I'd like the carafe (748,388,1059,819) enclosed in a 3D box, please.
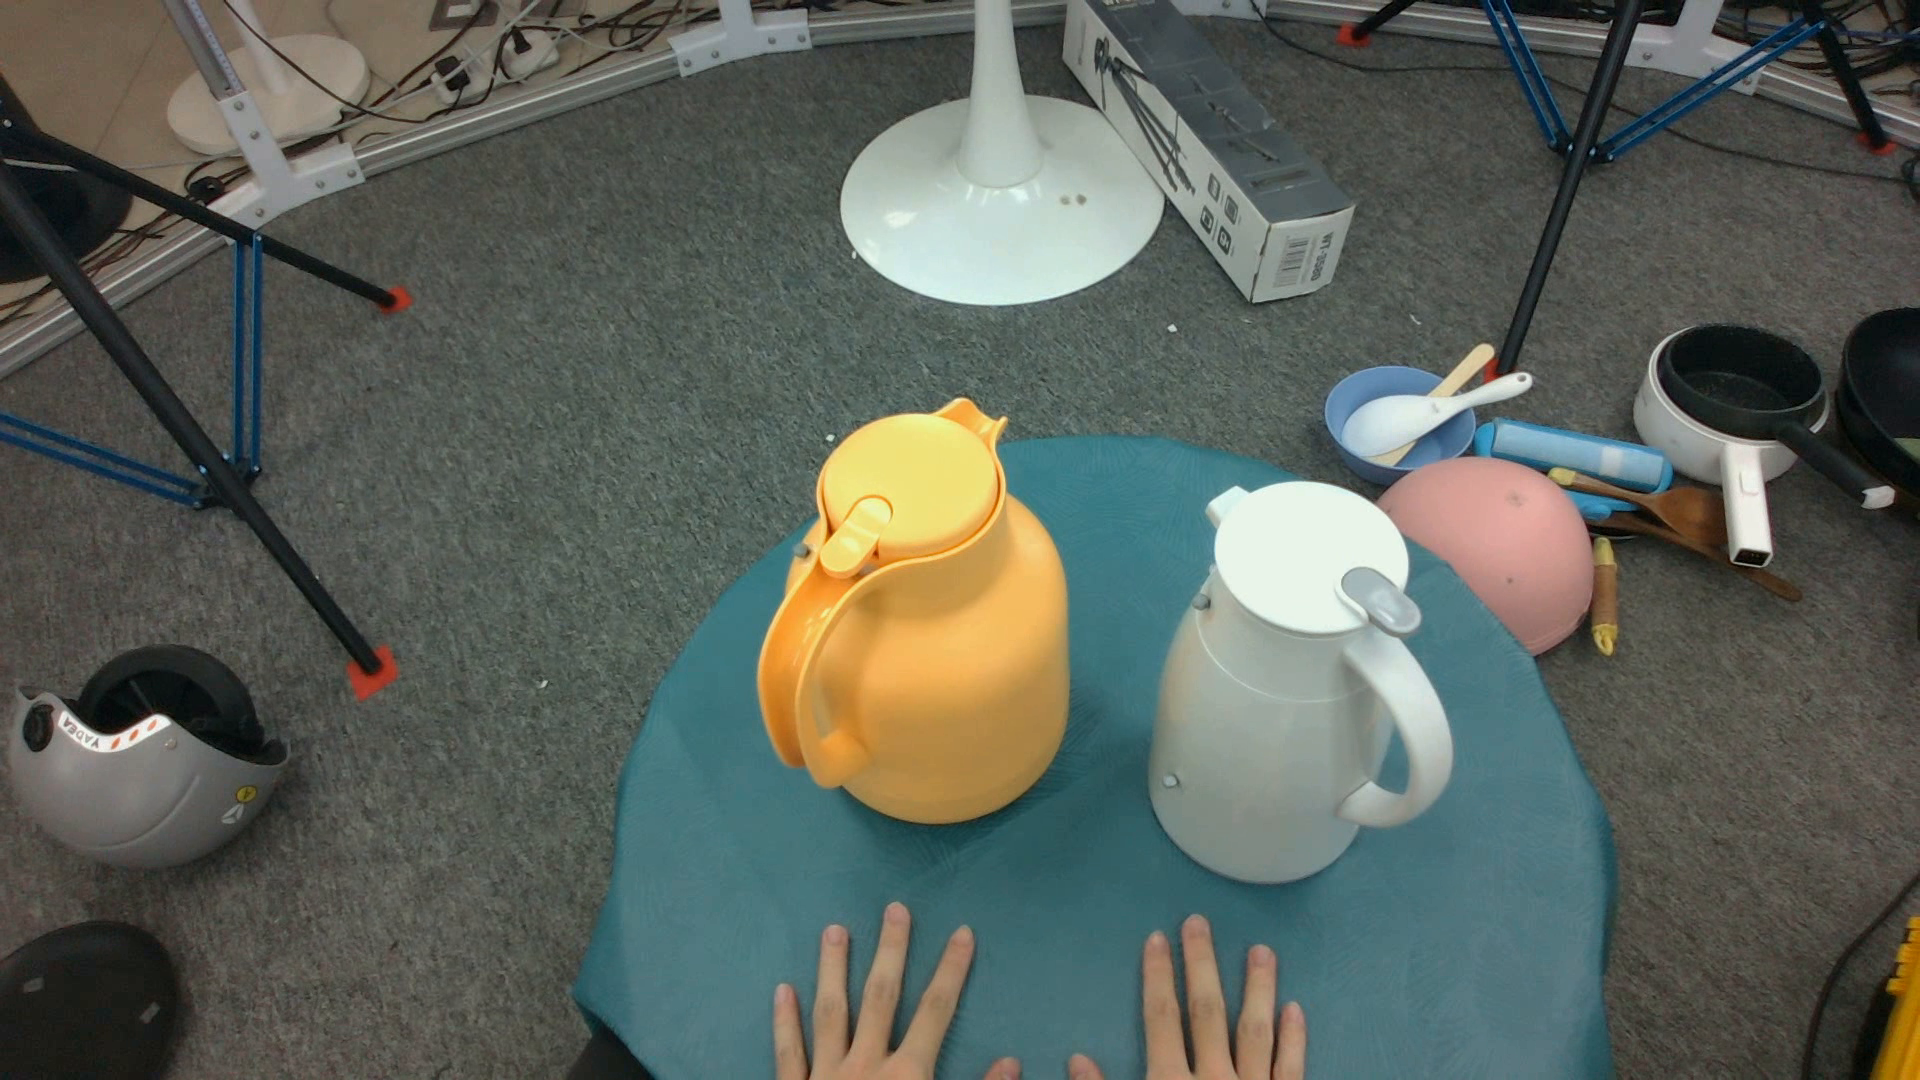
[{"bbox_3d":[-0.037,0.050,0.778,0.163,0.259,0.203,28,58,24],"label":"carafe"}]

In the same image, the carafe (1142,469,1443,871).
[{"bbox_3d":[0.184,0.082,0.747,0.133,0.247,0.168,-32,58,-19],"label":"carafe"}]
